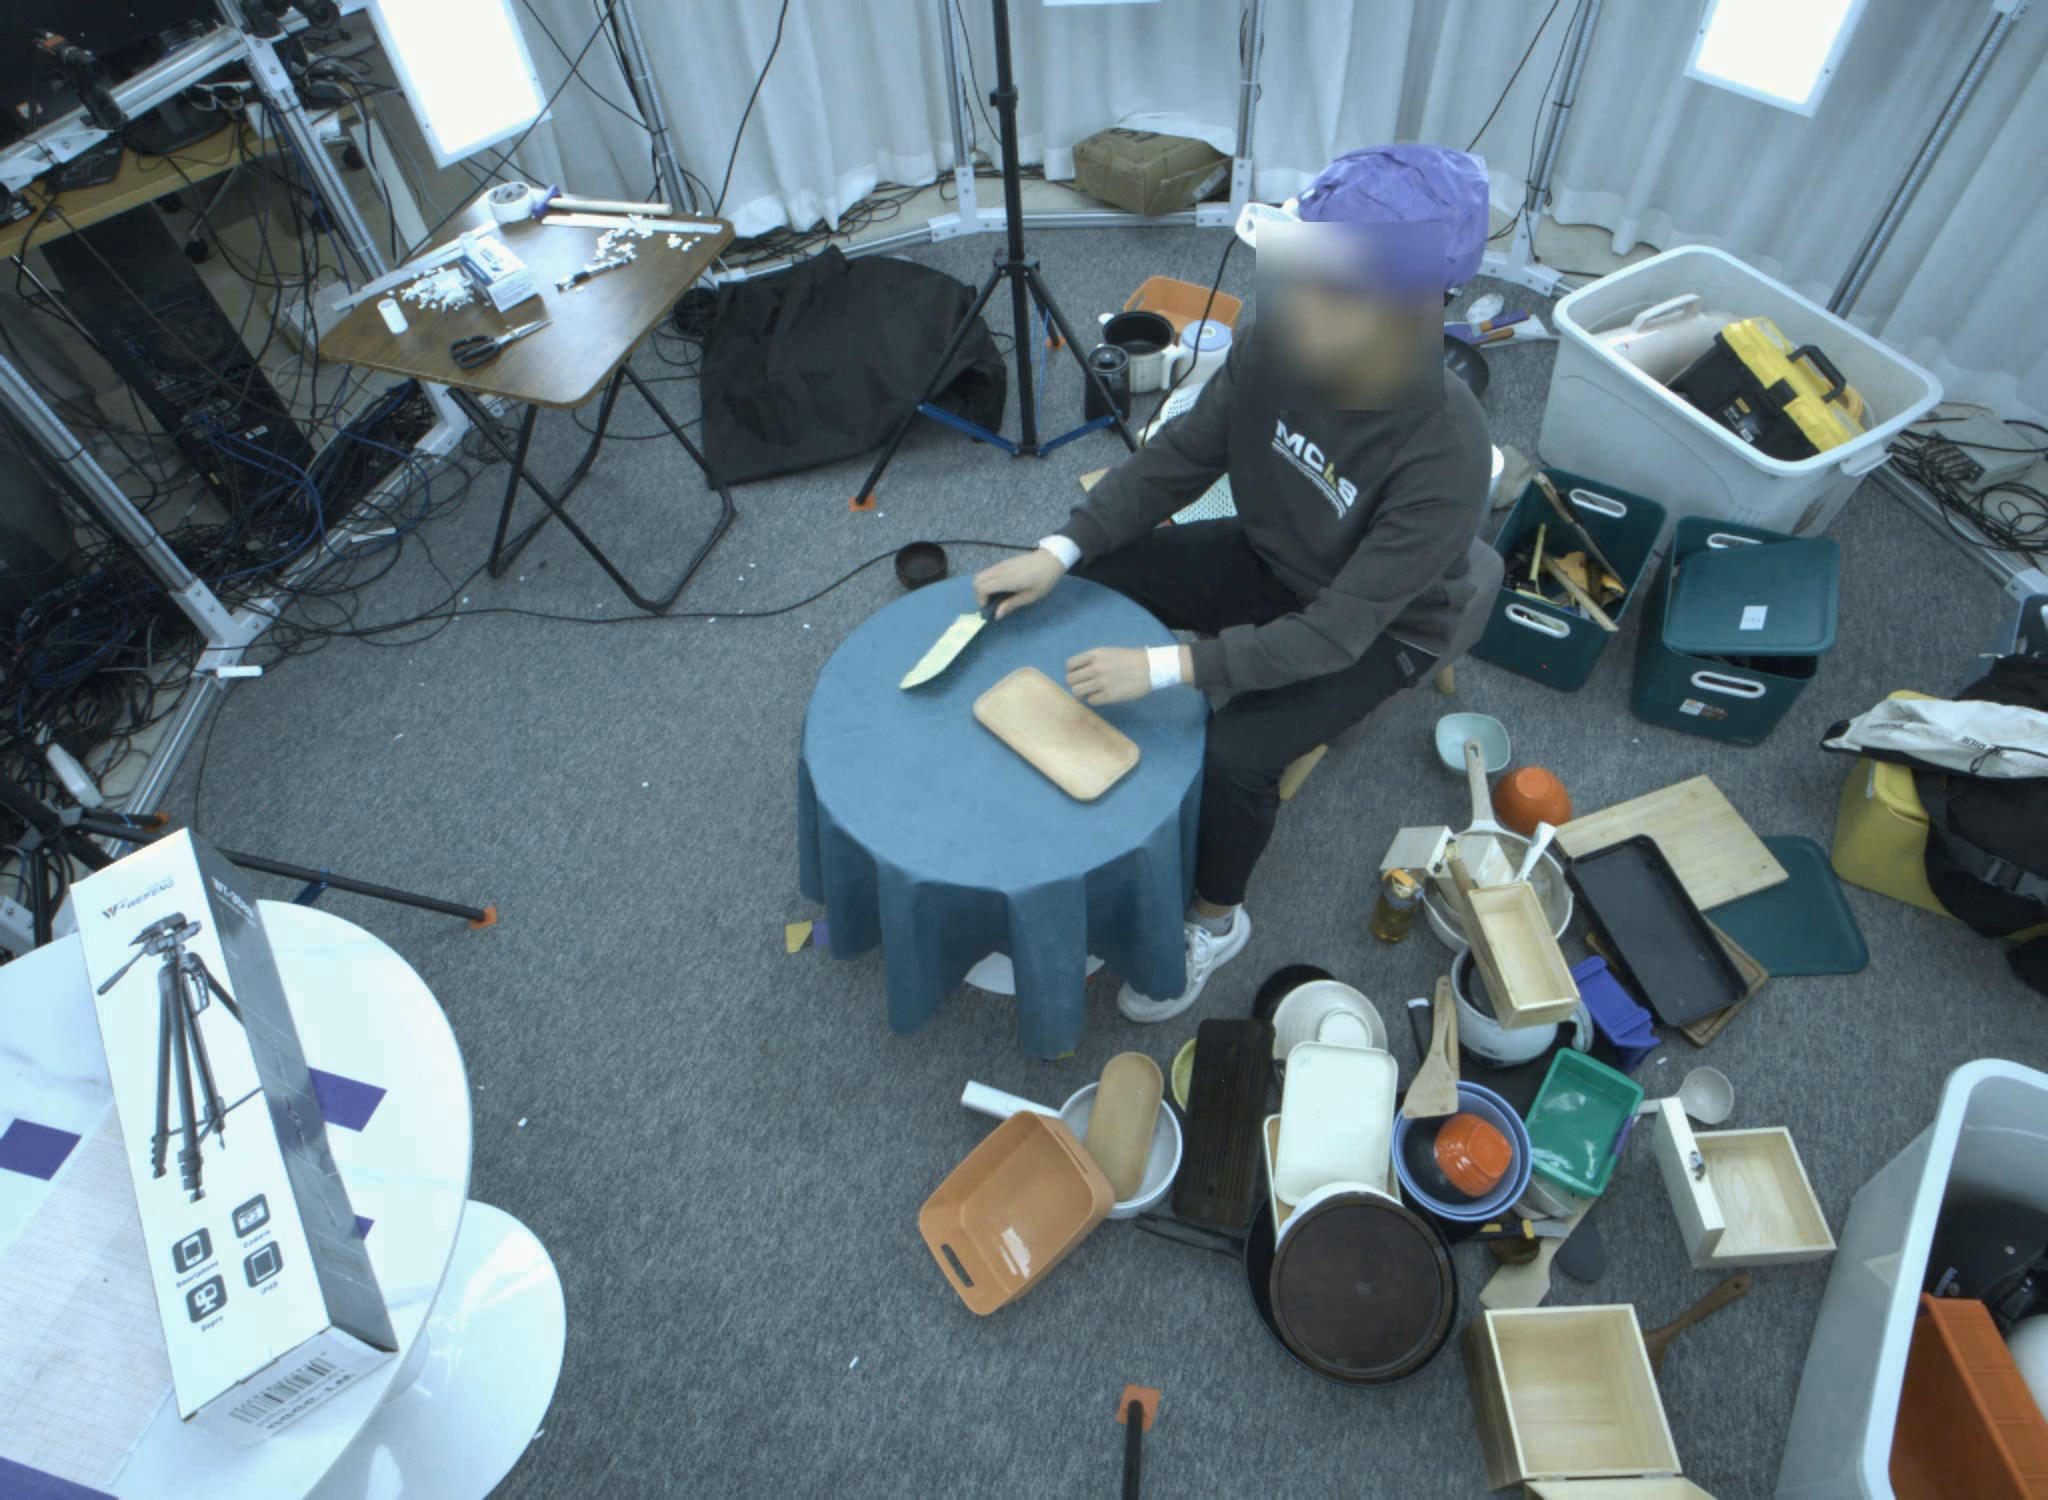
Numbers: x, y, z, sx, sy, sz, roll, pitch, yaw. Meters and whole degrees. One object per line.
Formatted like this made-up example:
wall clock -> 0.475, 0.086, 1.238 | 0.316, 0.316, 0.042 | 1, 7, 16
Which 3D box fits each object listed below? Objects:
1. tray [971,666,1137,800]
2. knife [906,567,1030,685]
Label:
tray -> 0.042, -0.027, 1.803 | 0.131, 0.023, 0.246 | -38, 61, -26
knife -> -0.088, -0.194, 1.913 | 0.079, 0.028, 0.291 | 13, 51, 44
